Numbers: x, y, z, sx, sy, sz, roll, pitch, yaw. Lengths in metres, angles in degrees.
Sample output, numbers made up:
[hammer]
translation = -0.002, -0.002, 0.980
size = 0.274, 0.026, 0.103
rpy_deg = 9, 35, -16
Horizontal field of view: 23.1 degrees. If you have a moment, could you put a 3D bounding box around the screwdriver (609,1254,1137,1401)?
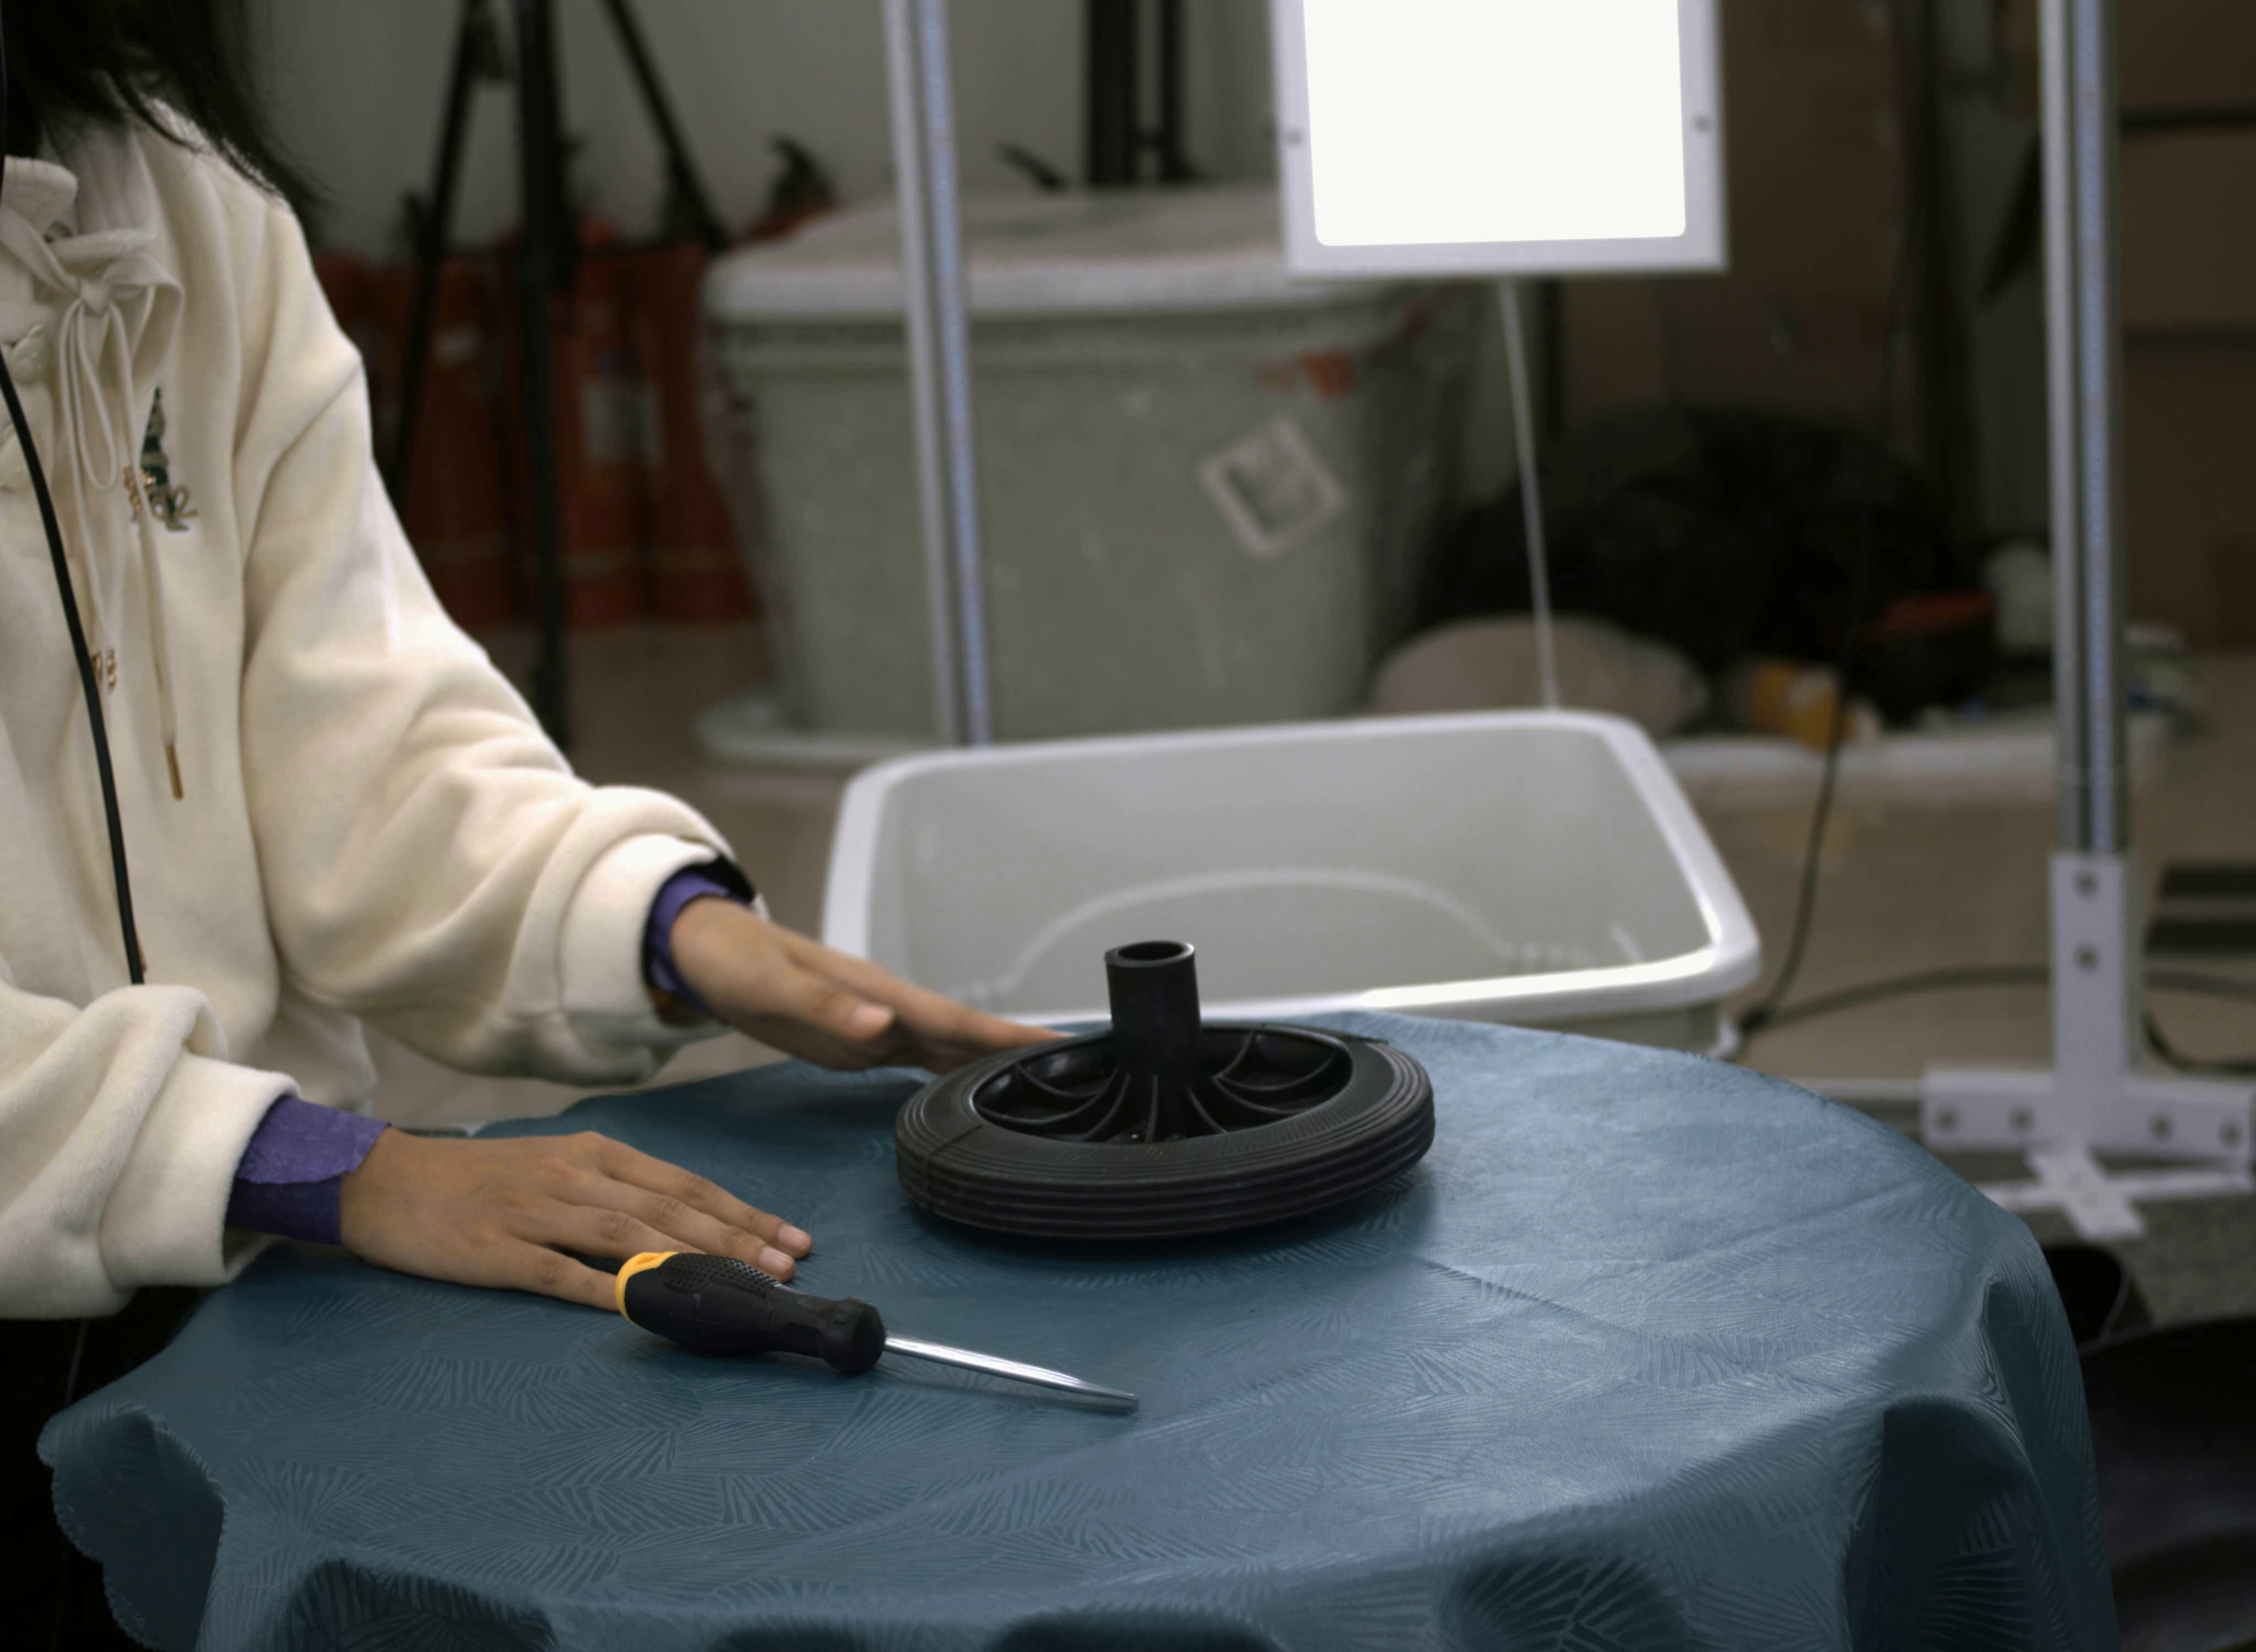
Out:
[screwdriver]
translation = -0.083, 0.162, 1.734
size = 0.202, 0.031, 0.031
rpy_deg = 9, 18, 36

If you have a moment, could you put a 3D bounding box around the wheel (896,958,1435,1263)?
[wheel]
translation = 0.011, 0.088, 1.897
size = 0.188, 0.079, 0.188
rpy_deg = -3, 17, 8
